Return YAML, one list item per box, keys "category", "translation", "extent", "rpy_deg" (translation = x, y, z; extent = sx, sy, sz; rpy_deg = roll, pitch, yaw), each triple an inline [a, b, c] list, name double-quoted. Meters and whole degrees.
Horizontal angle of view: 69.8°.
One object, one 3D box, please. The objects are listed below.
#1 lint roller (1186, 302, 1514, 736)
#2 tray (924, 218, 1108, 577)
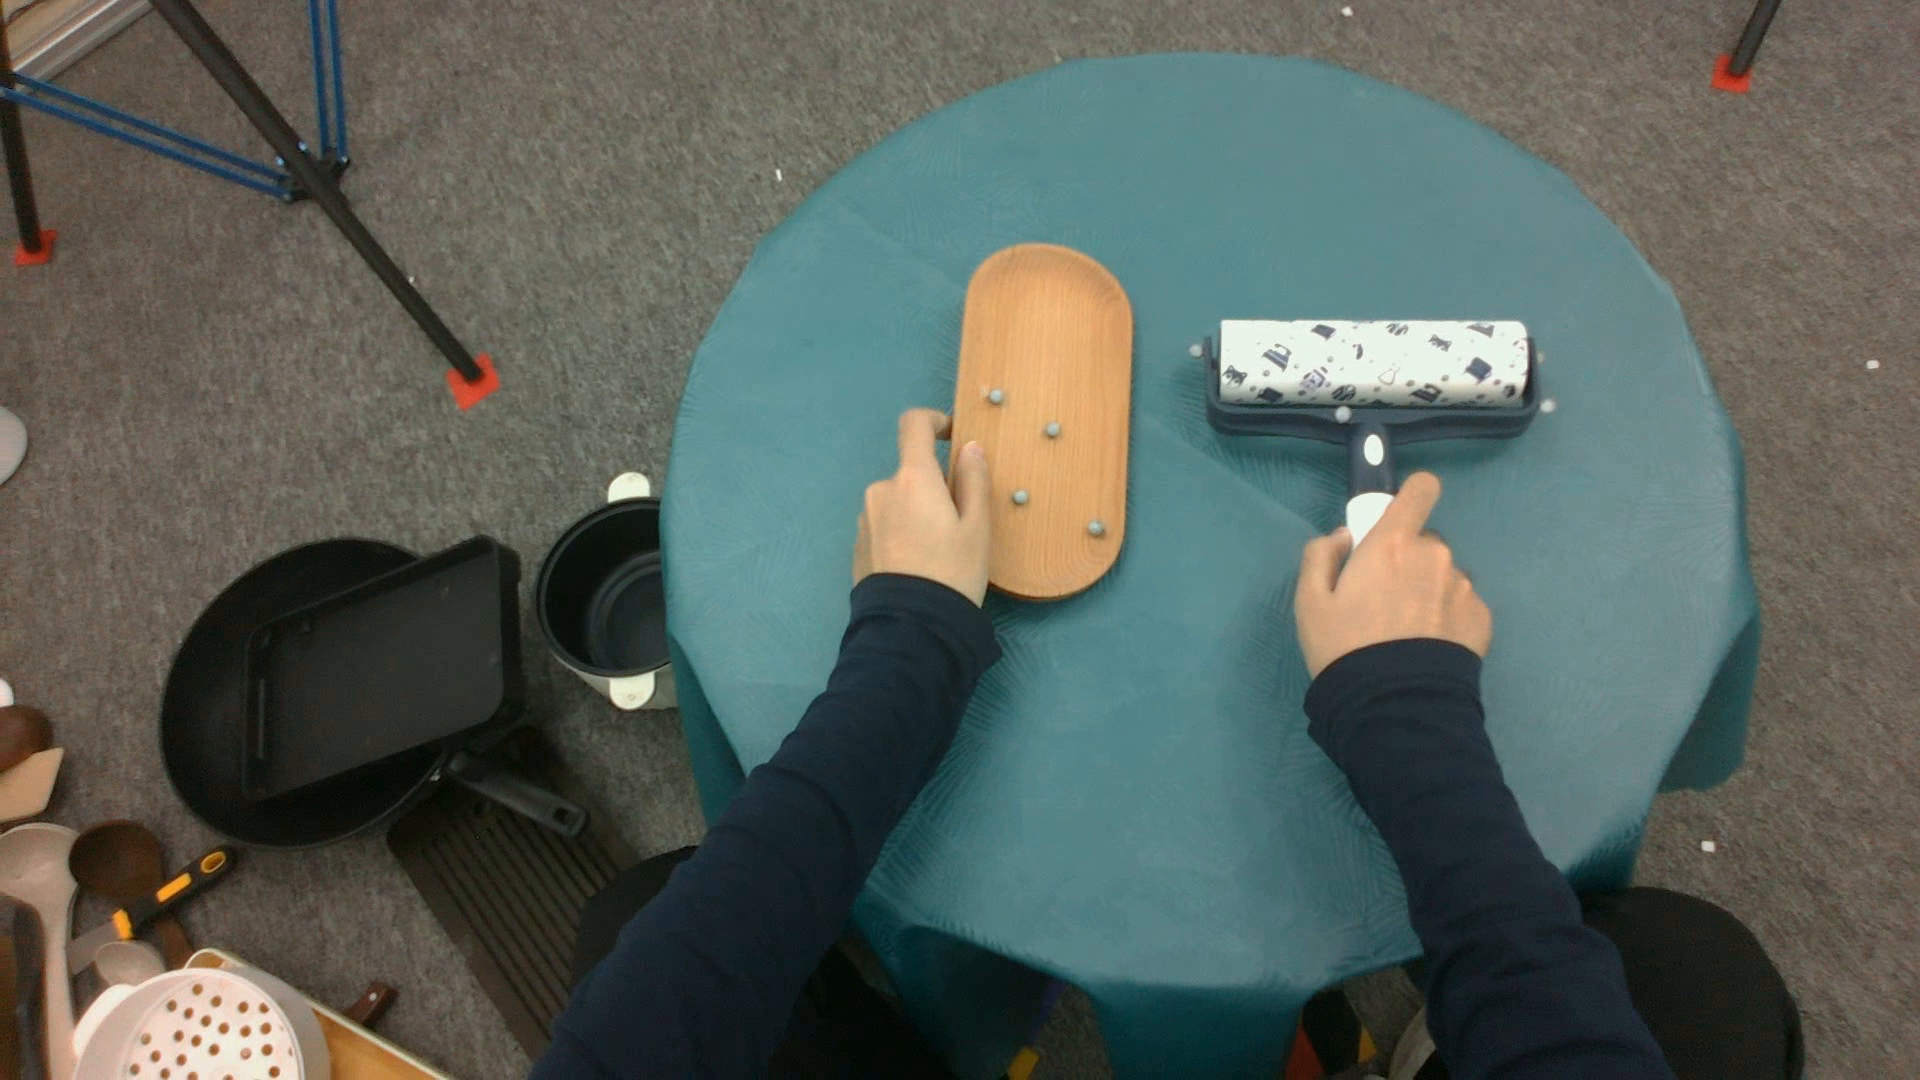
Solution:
- category: "lint roller"
  translation: [0.208, -0.020, 0.722]
  extent: [0.176, 0.050, 0.248]
  rpy_deg: [2, 62, 6]
- category: "tray"
  translation: [0.033, -0.086, 0.784]
  extent: [0.102, 0.020, 0.232]
  rpy_deg: [9, 63, -11]
